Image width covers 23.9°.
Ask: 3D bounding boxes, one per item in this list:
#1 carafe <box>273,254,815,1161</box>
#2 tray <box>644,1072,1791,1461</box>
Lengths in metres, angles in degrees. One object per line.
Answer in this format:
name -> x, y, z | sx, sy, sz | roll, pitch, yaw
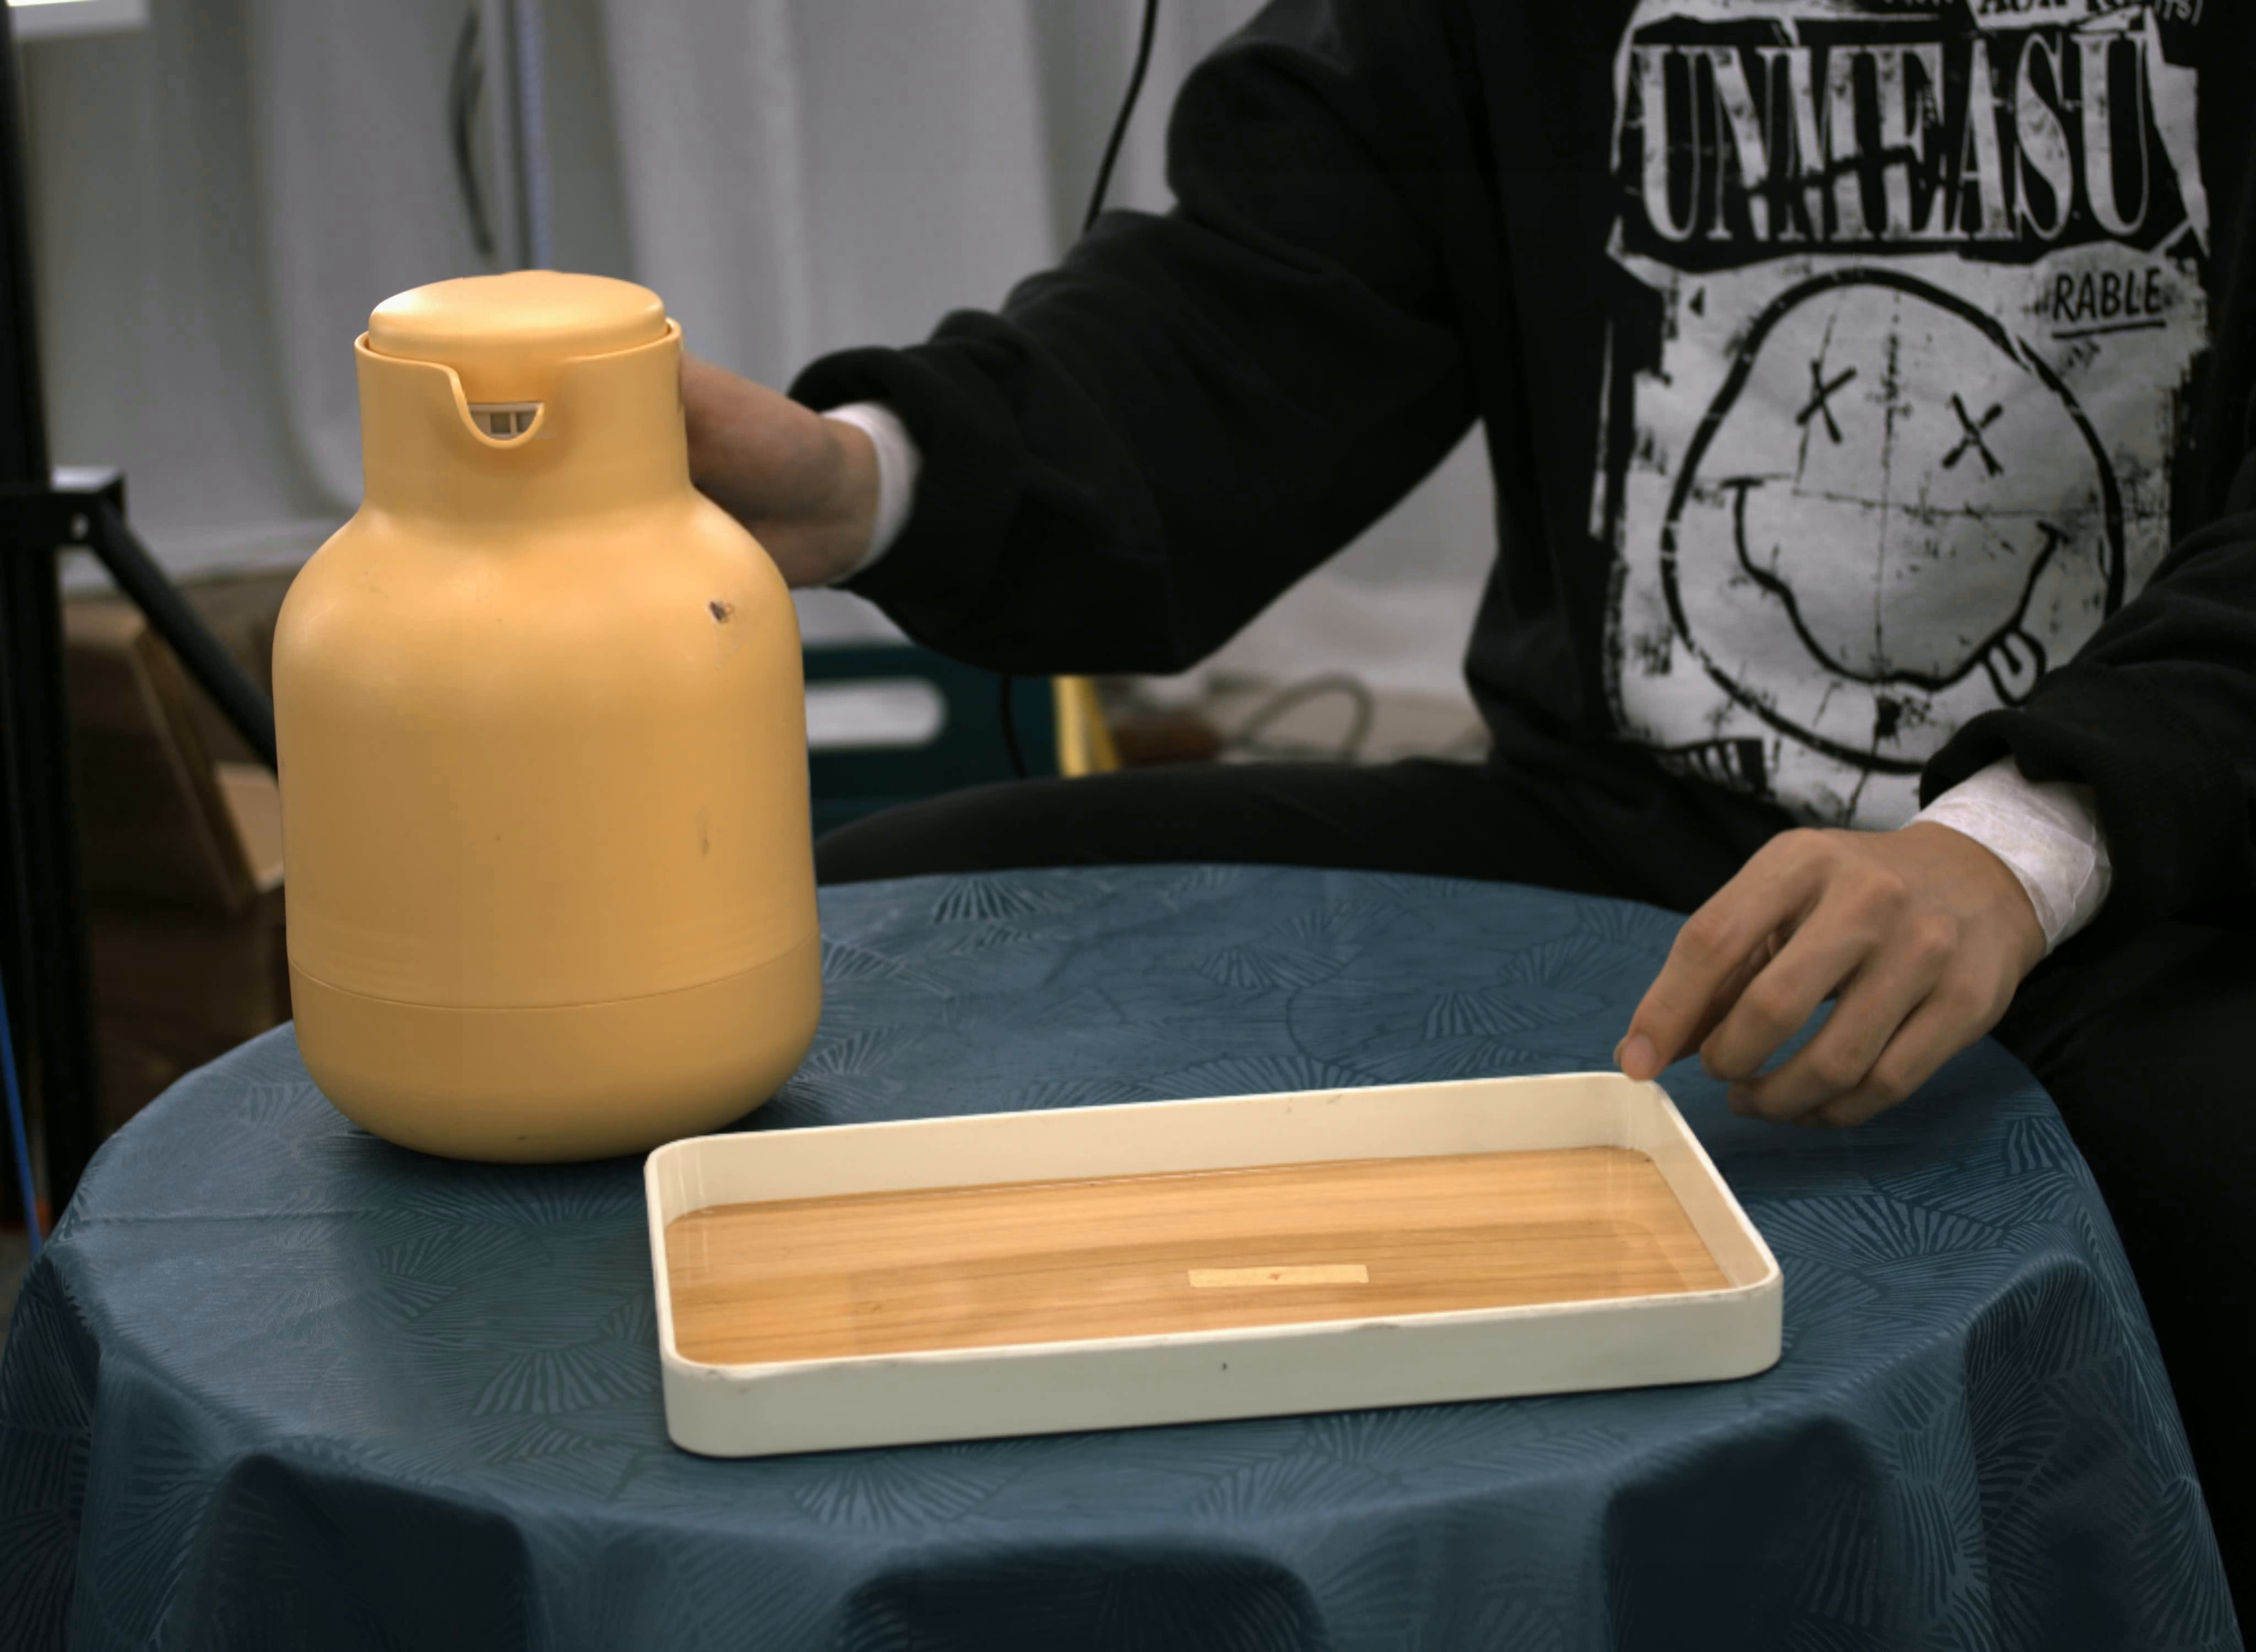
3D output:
carafe -> -0.177, -0.044, 1.643 | 0.163, 0.260, 0.203 | 1, 17, 1
tray -> 0.019, 0.119, 1.464 | 0.298, 0.027, 0.193 | -4, 16, -4
